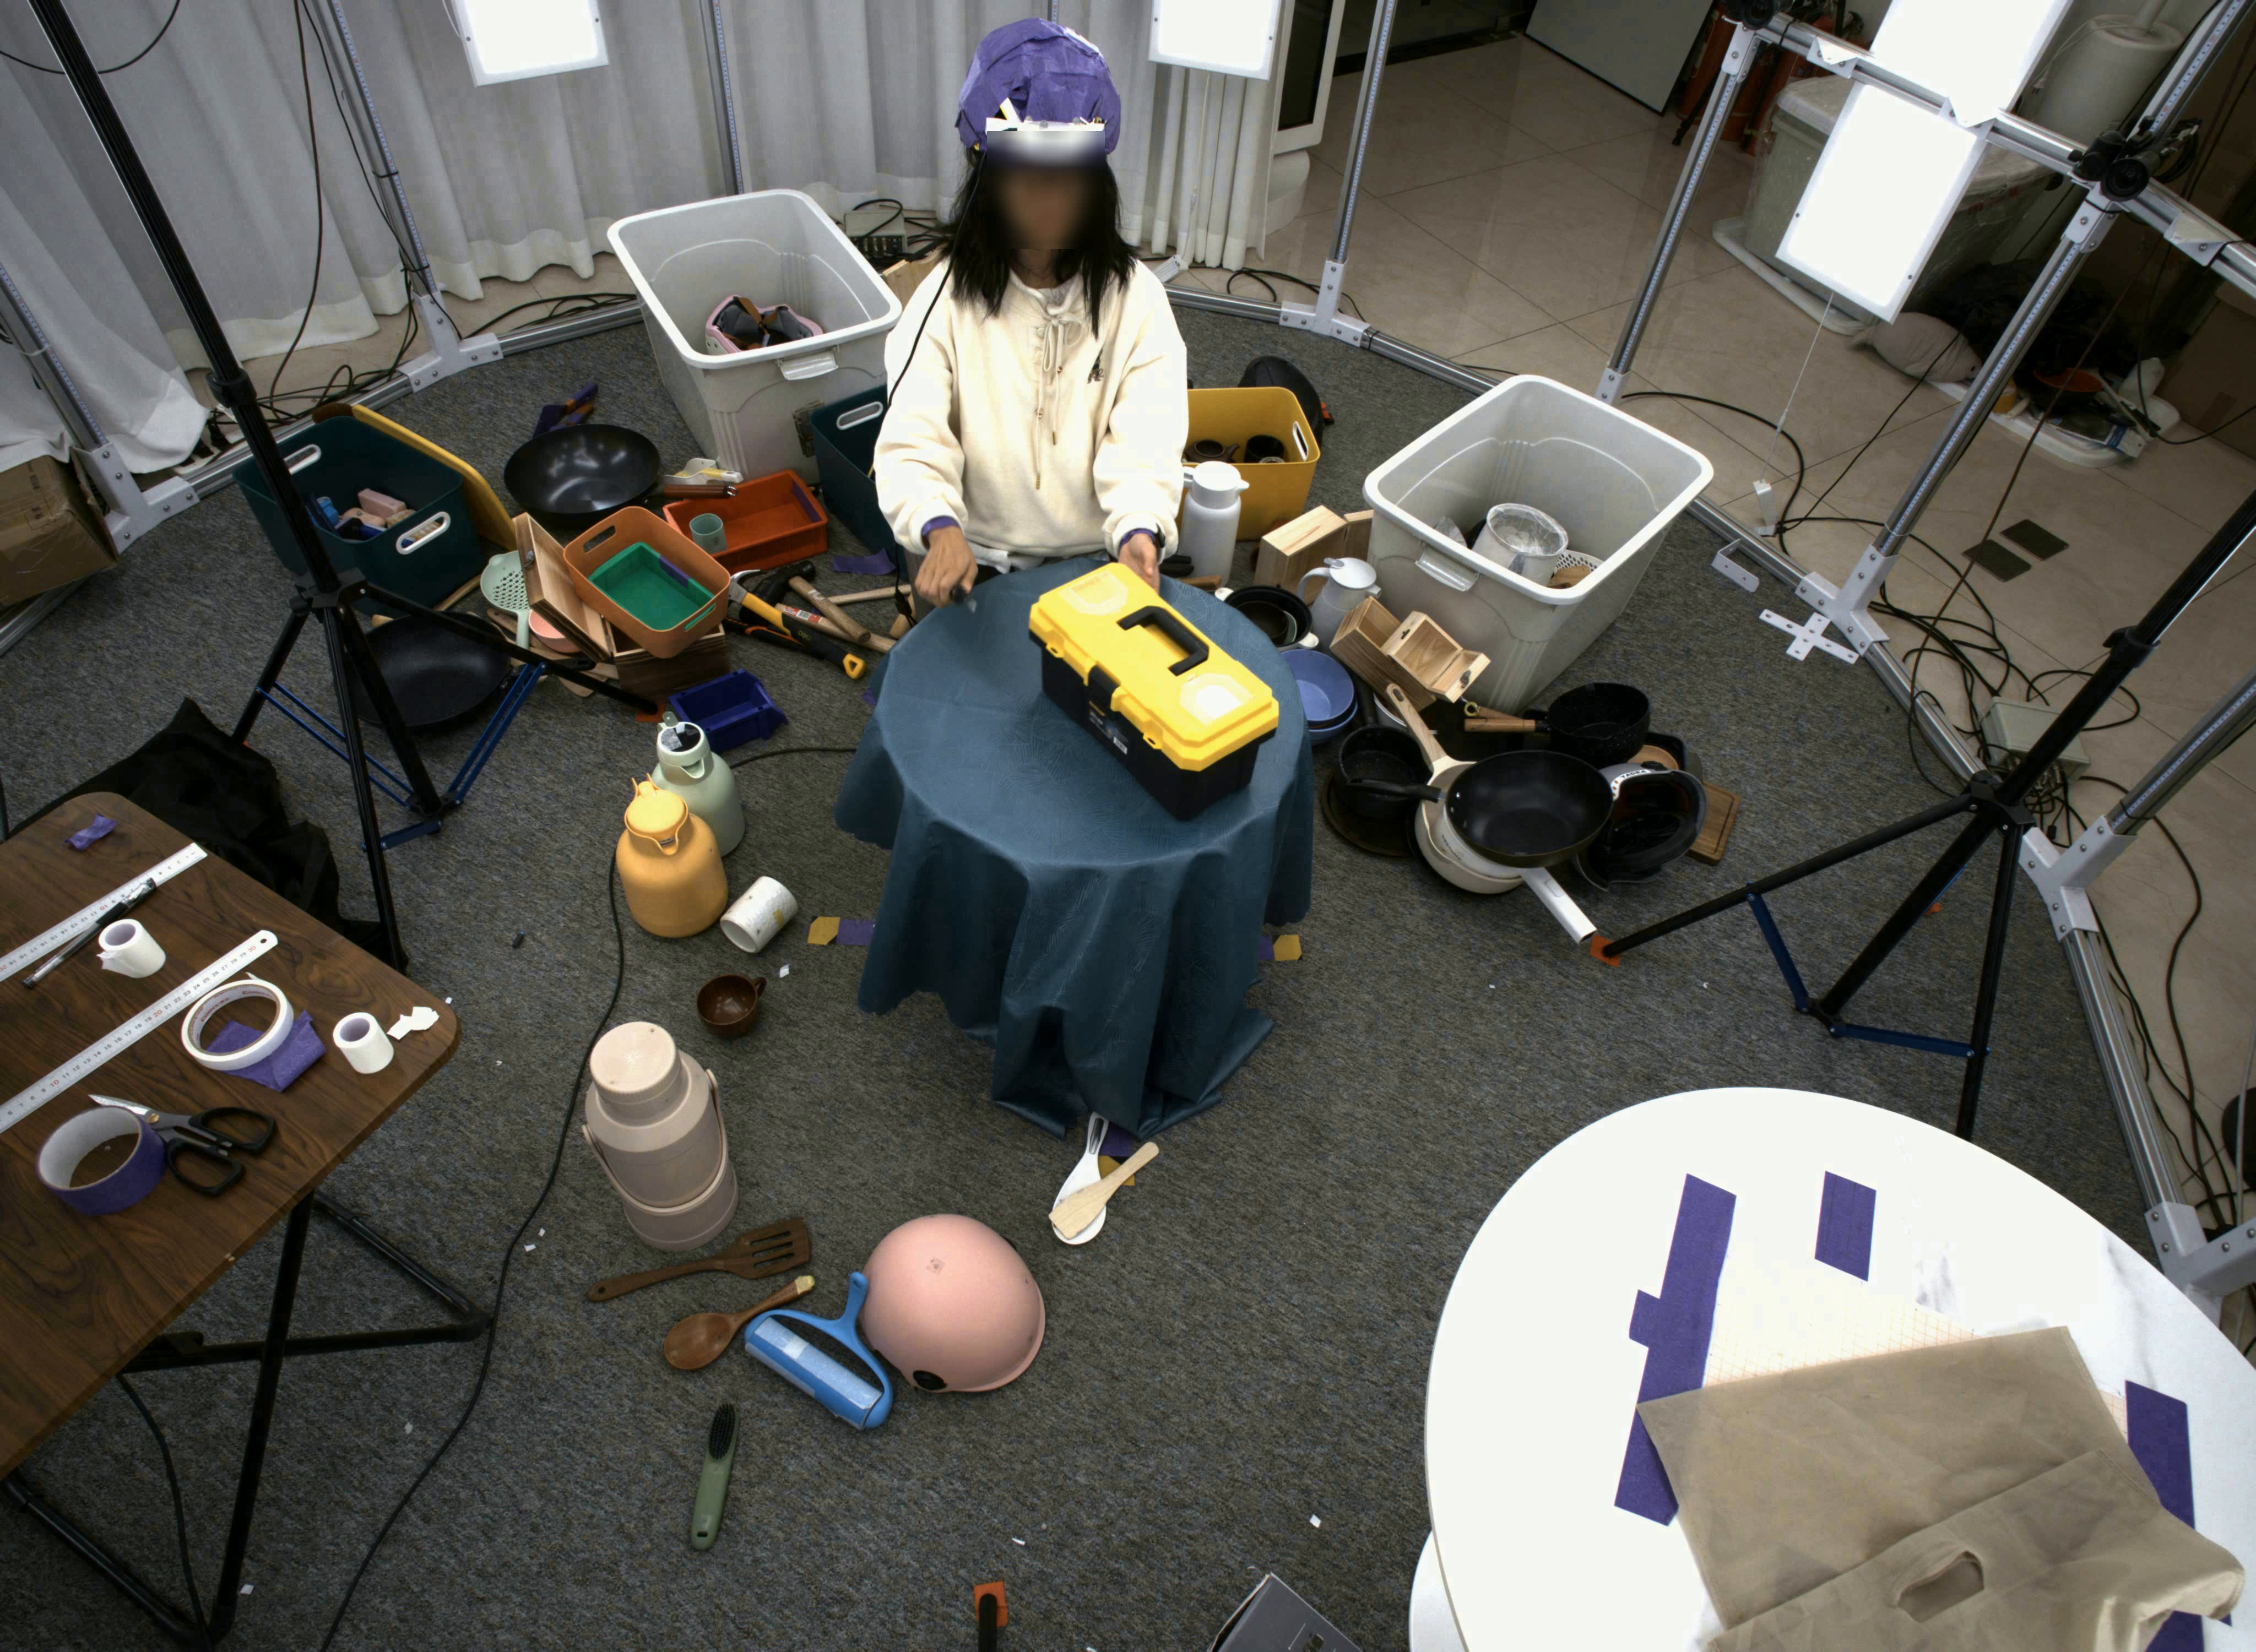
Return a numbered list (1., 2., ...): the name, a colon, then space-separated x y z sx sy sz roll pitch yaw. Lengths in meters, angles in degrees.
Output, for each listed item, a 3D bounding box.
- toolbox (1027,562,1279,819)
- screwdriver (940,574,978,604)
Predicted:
1. toolbox: 0.025 -0.181 1.717 0.182 0.168 0.358 -29 57 -26
2. screwdriver: -0.228 -0.319 1.746 0.031 0.031 0.199 -10 18 -13
